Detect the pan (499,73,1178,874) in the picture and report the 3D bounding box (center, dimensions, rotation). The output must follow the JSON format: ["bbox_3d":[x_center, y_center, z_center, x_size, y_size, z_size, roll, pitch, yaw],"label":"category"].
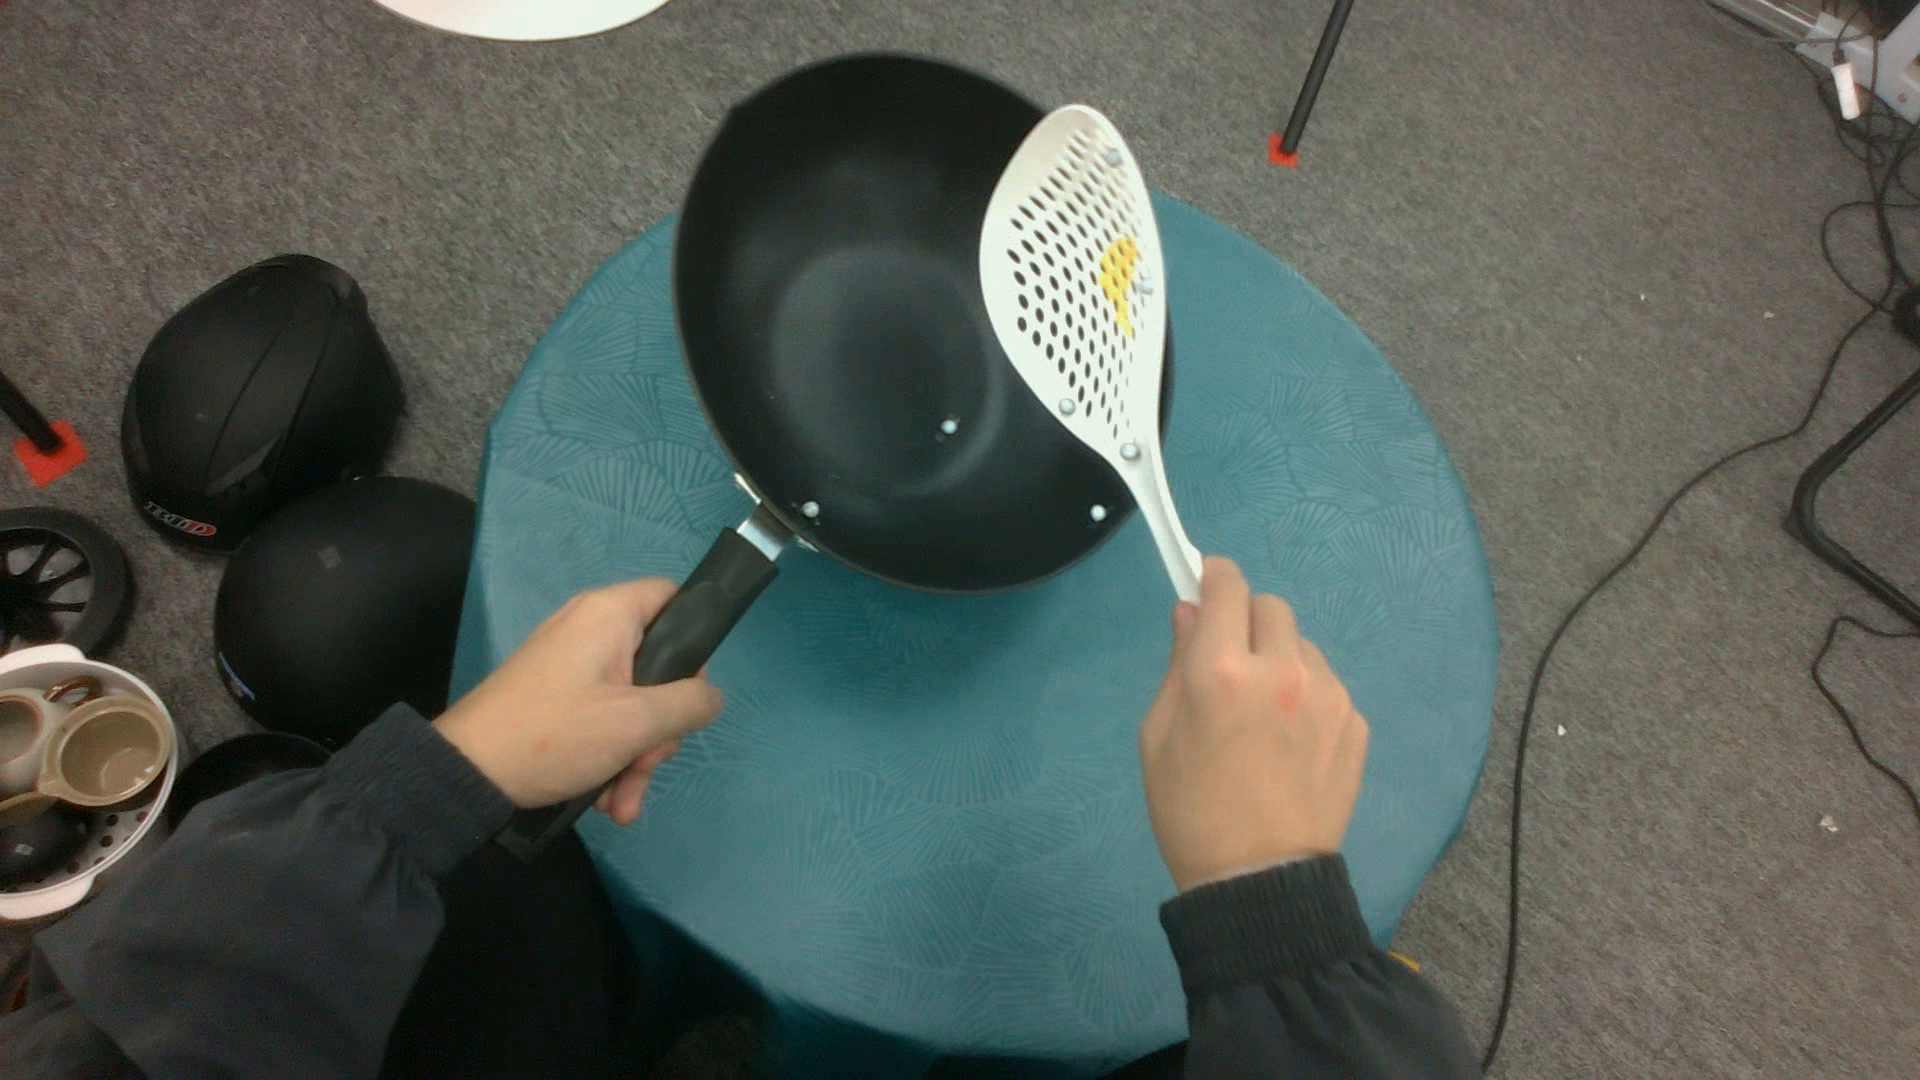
[{"bbox_3d":[-0.071,-0.030,0.701,0.288,0.086,0.465,41,67,-14],"label":"pan"}]

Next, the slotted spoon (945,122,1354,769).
[{"bbox_3d":[0.084,-0.045,0.653,0.050,0.136,0.348,-10,65,-27],"label":"slotted spoon"}]
